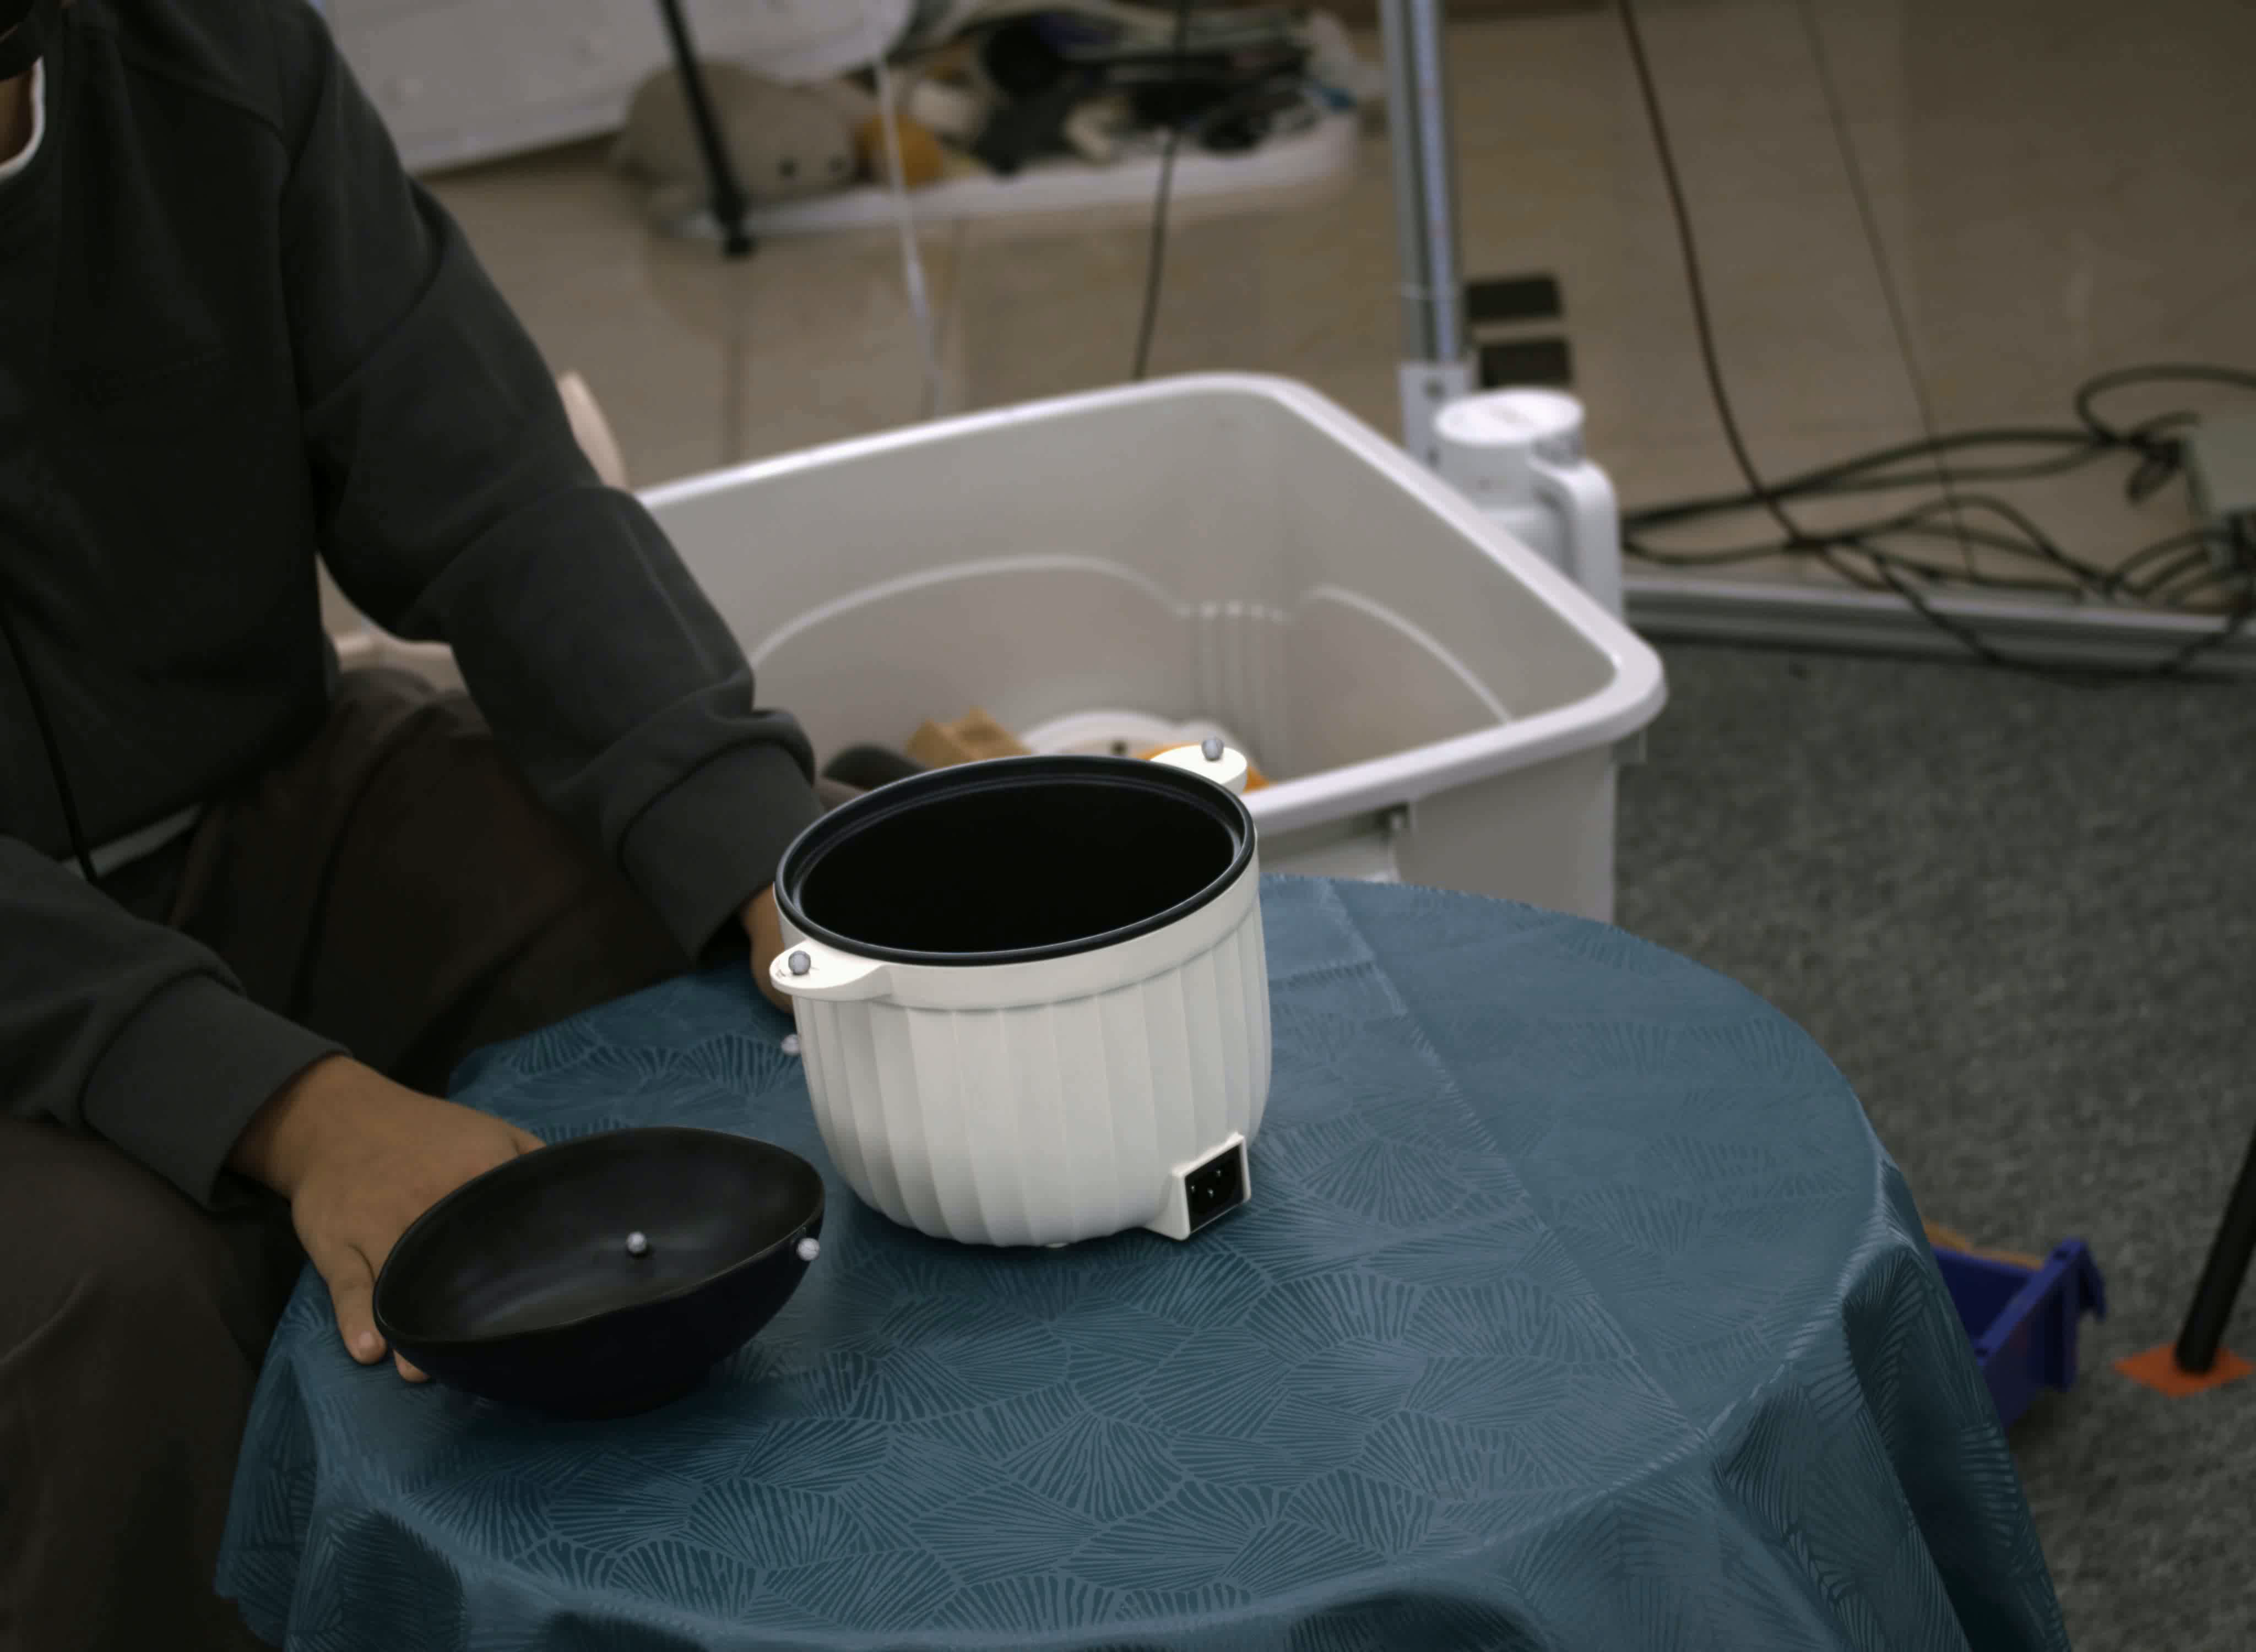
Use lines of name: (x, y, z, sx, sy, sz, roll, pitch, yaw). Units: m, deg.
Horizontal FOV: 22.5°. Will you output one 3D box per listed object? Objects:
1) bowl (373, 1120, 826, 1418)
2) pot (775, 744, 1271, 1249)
bowl: (-0.186, 0.170, 2.049, 0.169, 0.068, 0.136, -19, 27, -22)
pot: (-0.040, 0.069, 2.142, 0.189, 0.145, 0.238, 20, 34, 38)
